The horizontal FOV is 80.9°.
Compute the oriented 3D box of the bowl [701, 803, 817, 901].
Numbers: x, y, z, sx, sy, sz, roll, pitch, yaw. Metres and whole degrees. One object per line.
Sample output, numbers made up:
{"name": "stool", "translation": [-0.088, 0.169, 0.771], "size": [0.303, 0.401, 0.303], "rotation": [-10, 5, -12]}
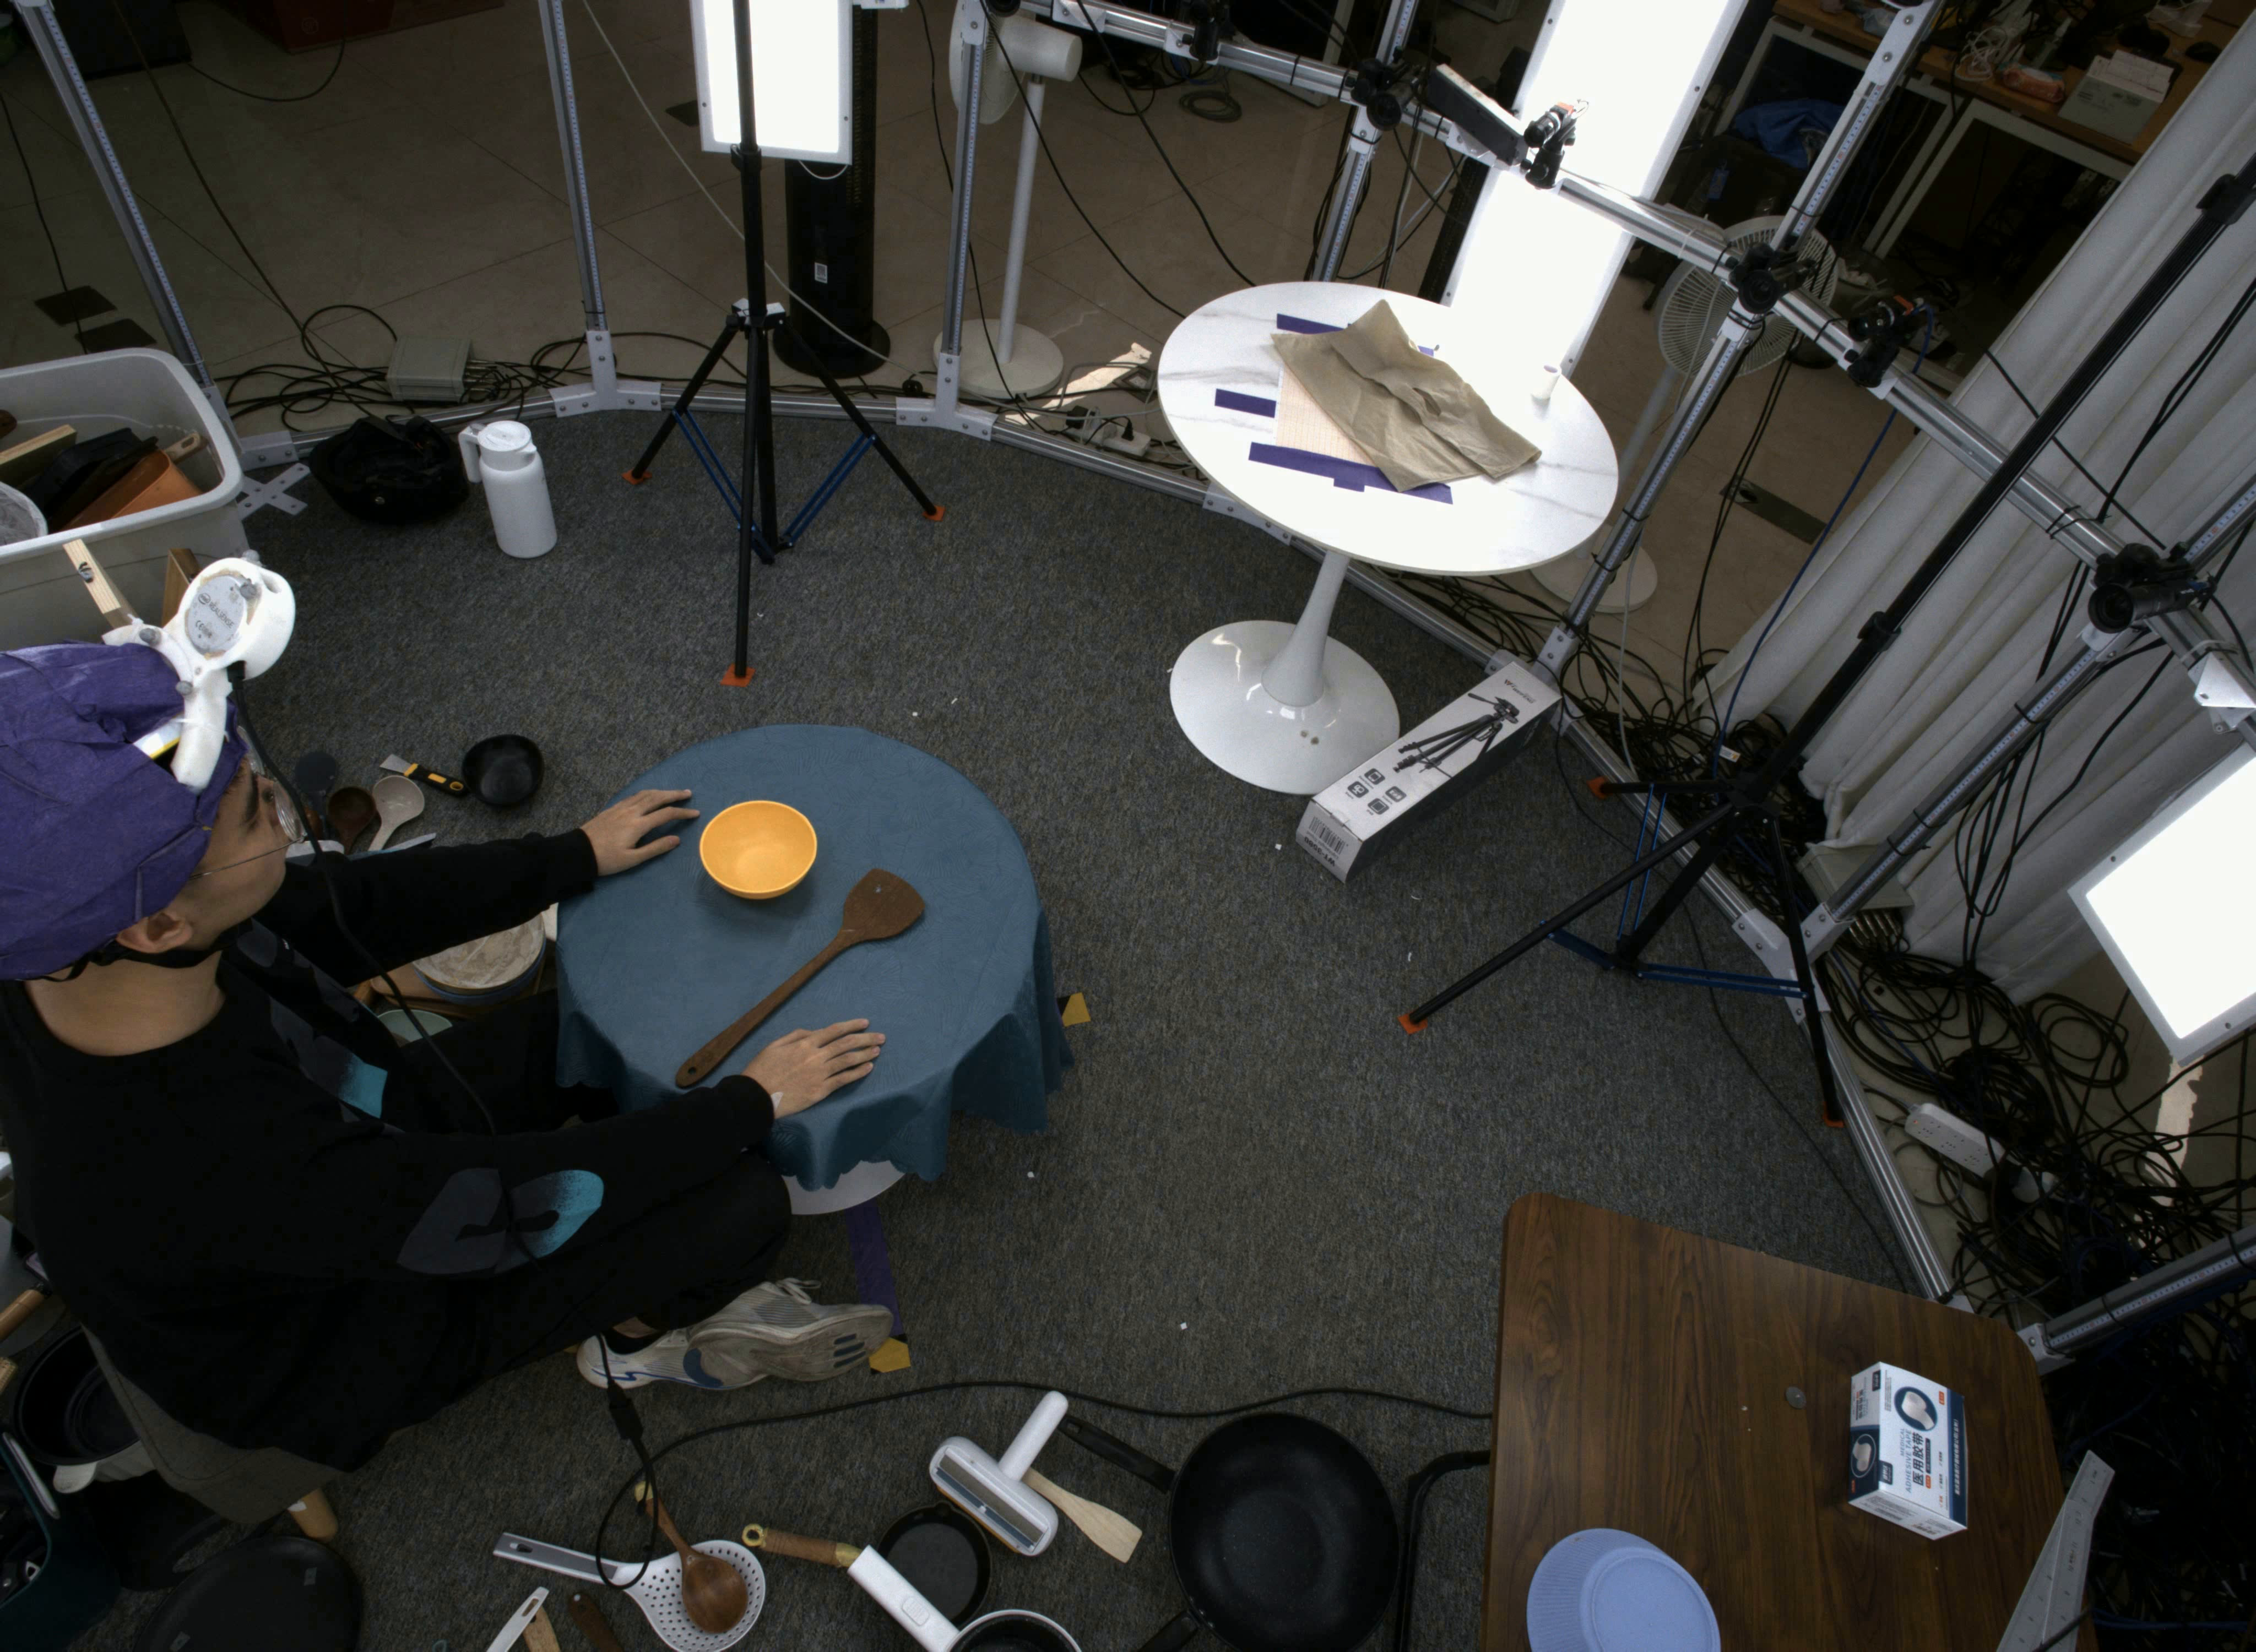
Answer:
{"name": "bowl", "translation": [-0.467, 0.043, 1.651], "size": [0.144, 0.061, 0.142], "rotation": [6, 51, -6]}

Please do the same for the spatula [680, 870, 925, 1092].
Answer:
{"name": "spatula", "translation": [-0.401, 0.186, 1.588], "size": [0.094, 0.016, 0.386], "rotation": [35, 54, 13]}
